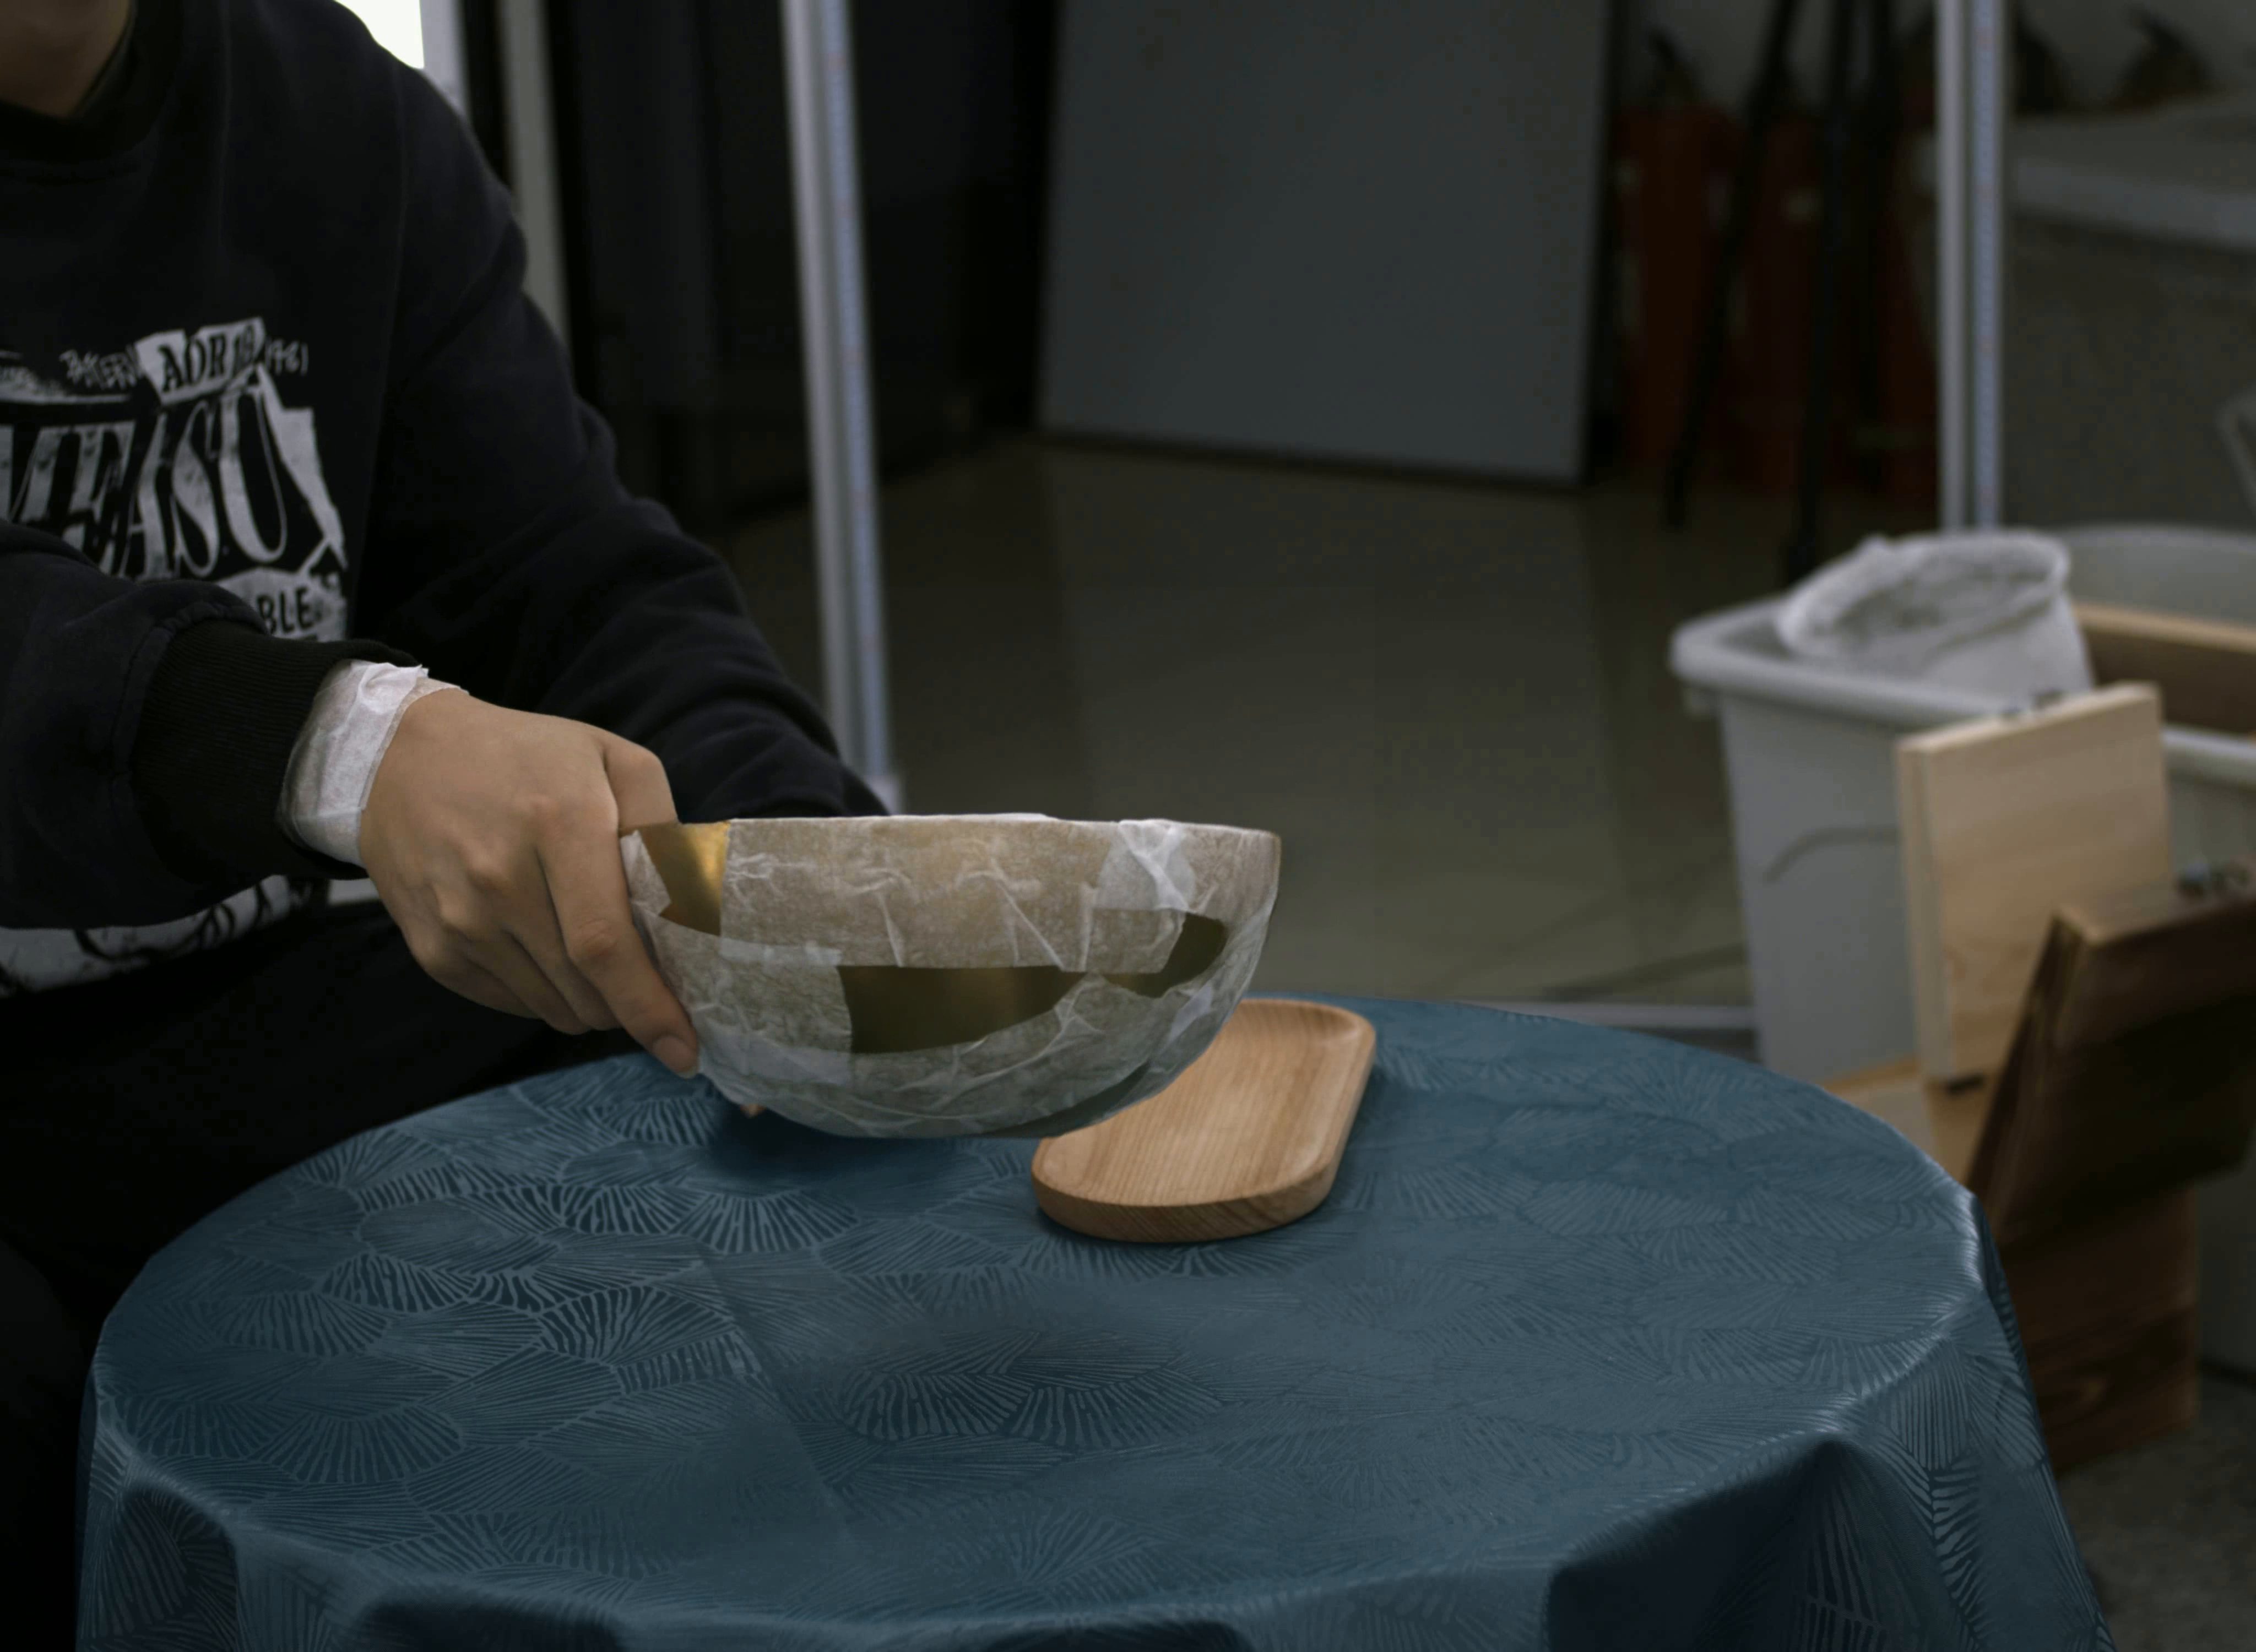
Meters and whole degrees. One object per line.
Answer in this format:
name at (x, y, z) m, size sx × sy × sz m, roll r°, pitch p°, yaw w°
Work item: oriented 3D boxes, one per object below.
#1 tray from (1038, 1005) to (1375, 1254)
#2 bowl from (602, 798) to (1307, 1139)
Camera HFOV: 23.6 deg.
tray at (0.029, 0.100, 1.816) m, size 0.101 × 0.020 × 0.230 m, roll -5°, pitch 16°, yaw 9°
bowl at (-0.051, 0.044, 1.584) m, size 0.212 × 0.096 × 0.215 m, roll -1°, pitch -3°, yaw -1°
